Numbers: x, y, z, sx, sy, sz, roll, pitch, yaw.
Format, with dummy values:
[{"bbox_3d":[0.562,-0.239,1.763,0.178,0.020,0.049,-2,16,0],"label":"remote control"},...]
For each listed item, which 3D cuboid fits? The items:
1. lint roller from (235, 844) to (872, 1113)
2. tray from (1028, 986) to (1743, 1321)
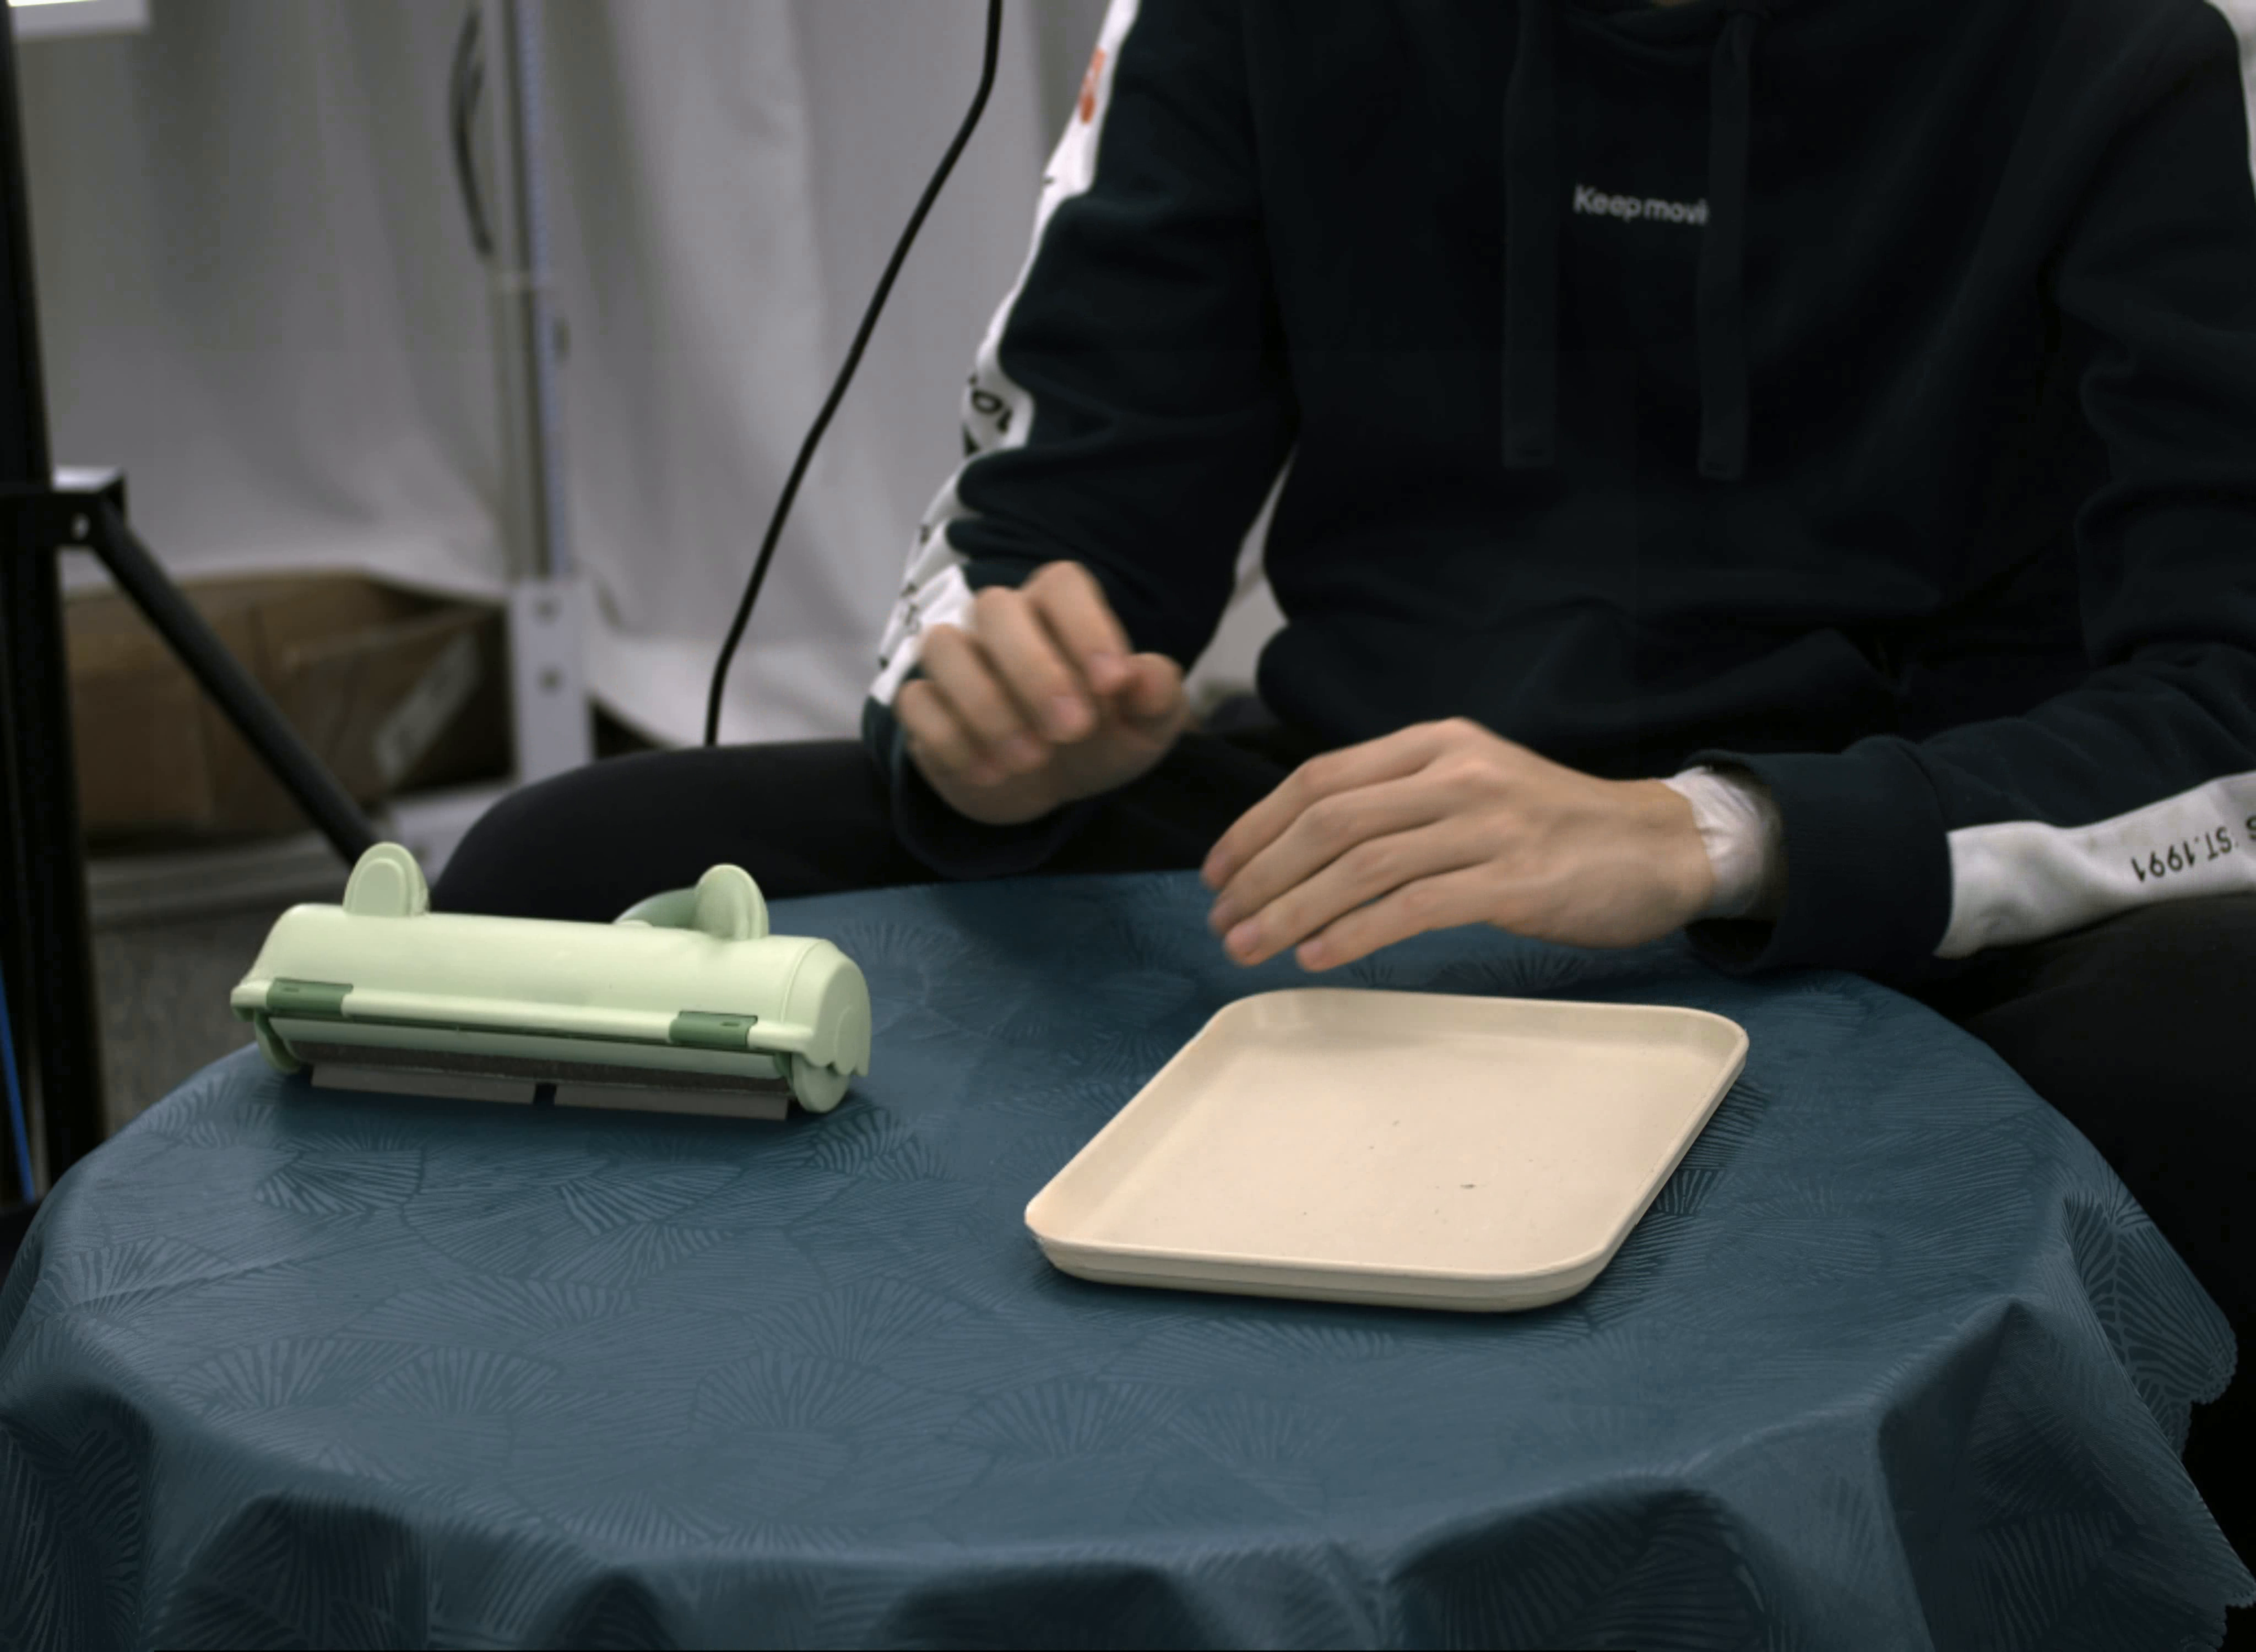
[{"bbox_3d":[-0.162,0.032,1.715,0.201,0.082,0.181,3,21,20],"label":"lint roller"},{"bbox_3d":[0.080,0.095,1.558,0.173,0.017,0.237,3,17,19],"label":"tray"}]
